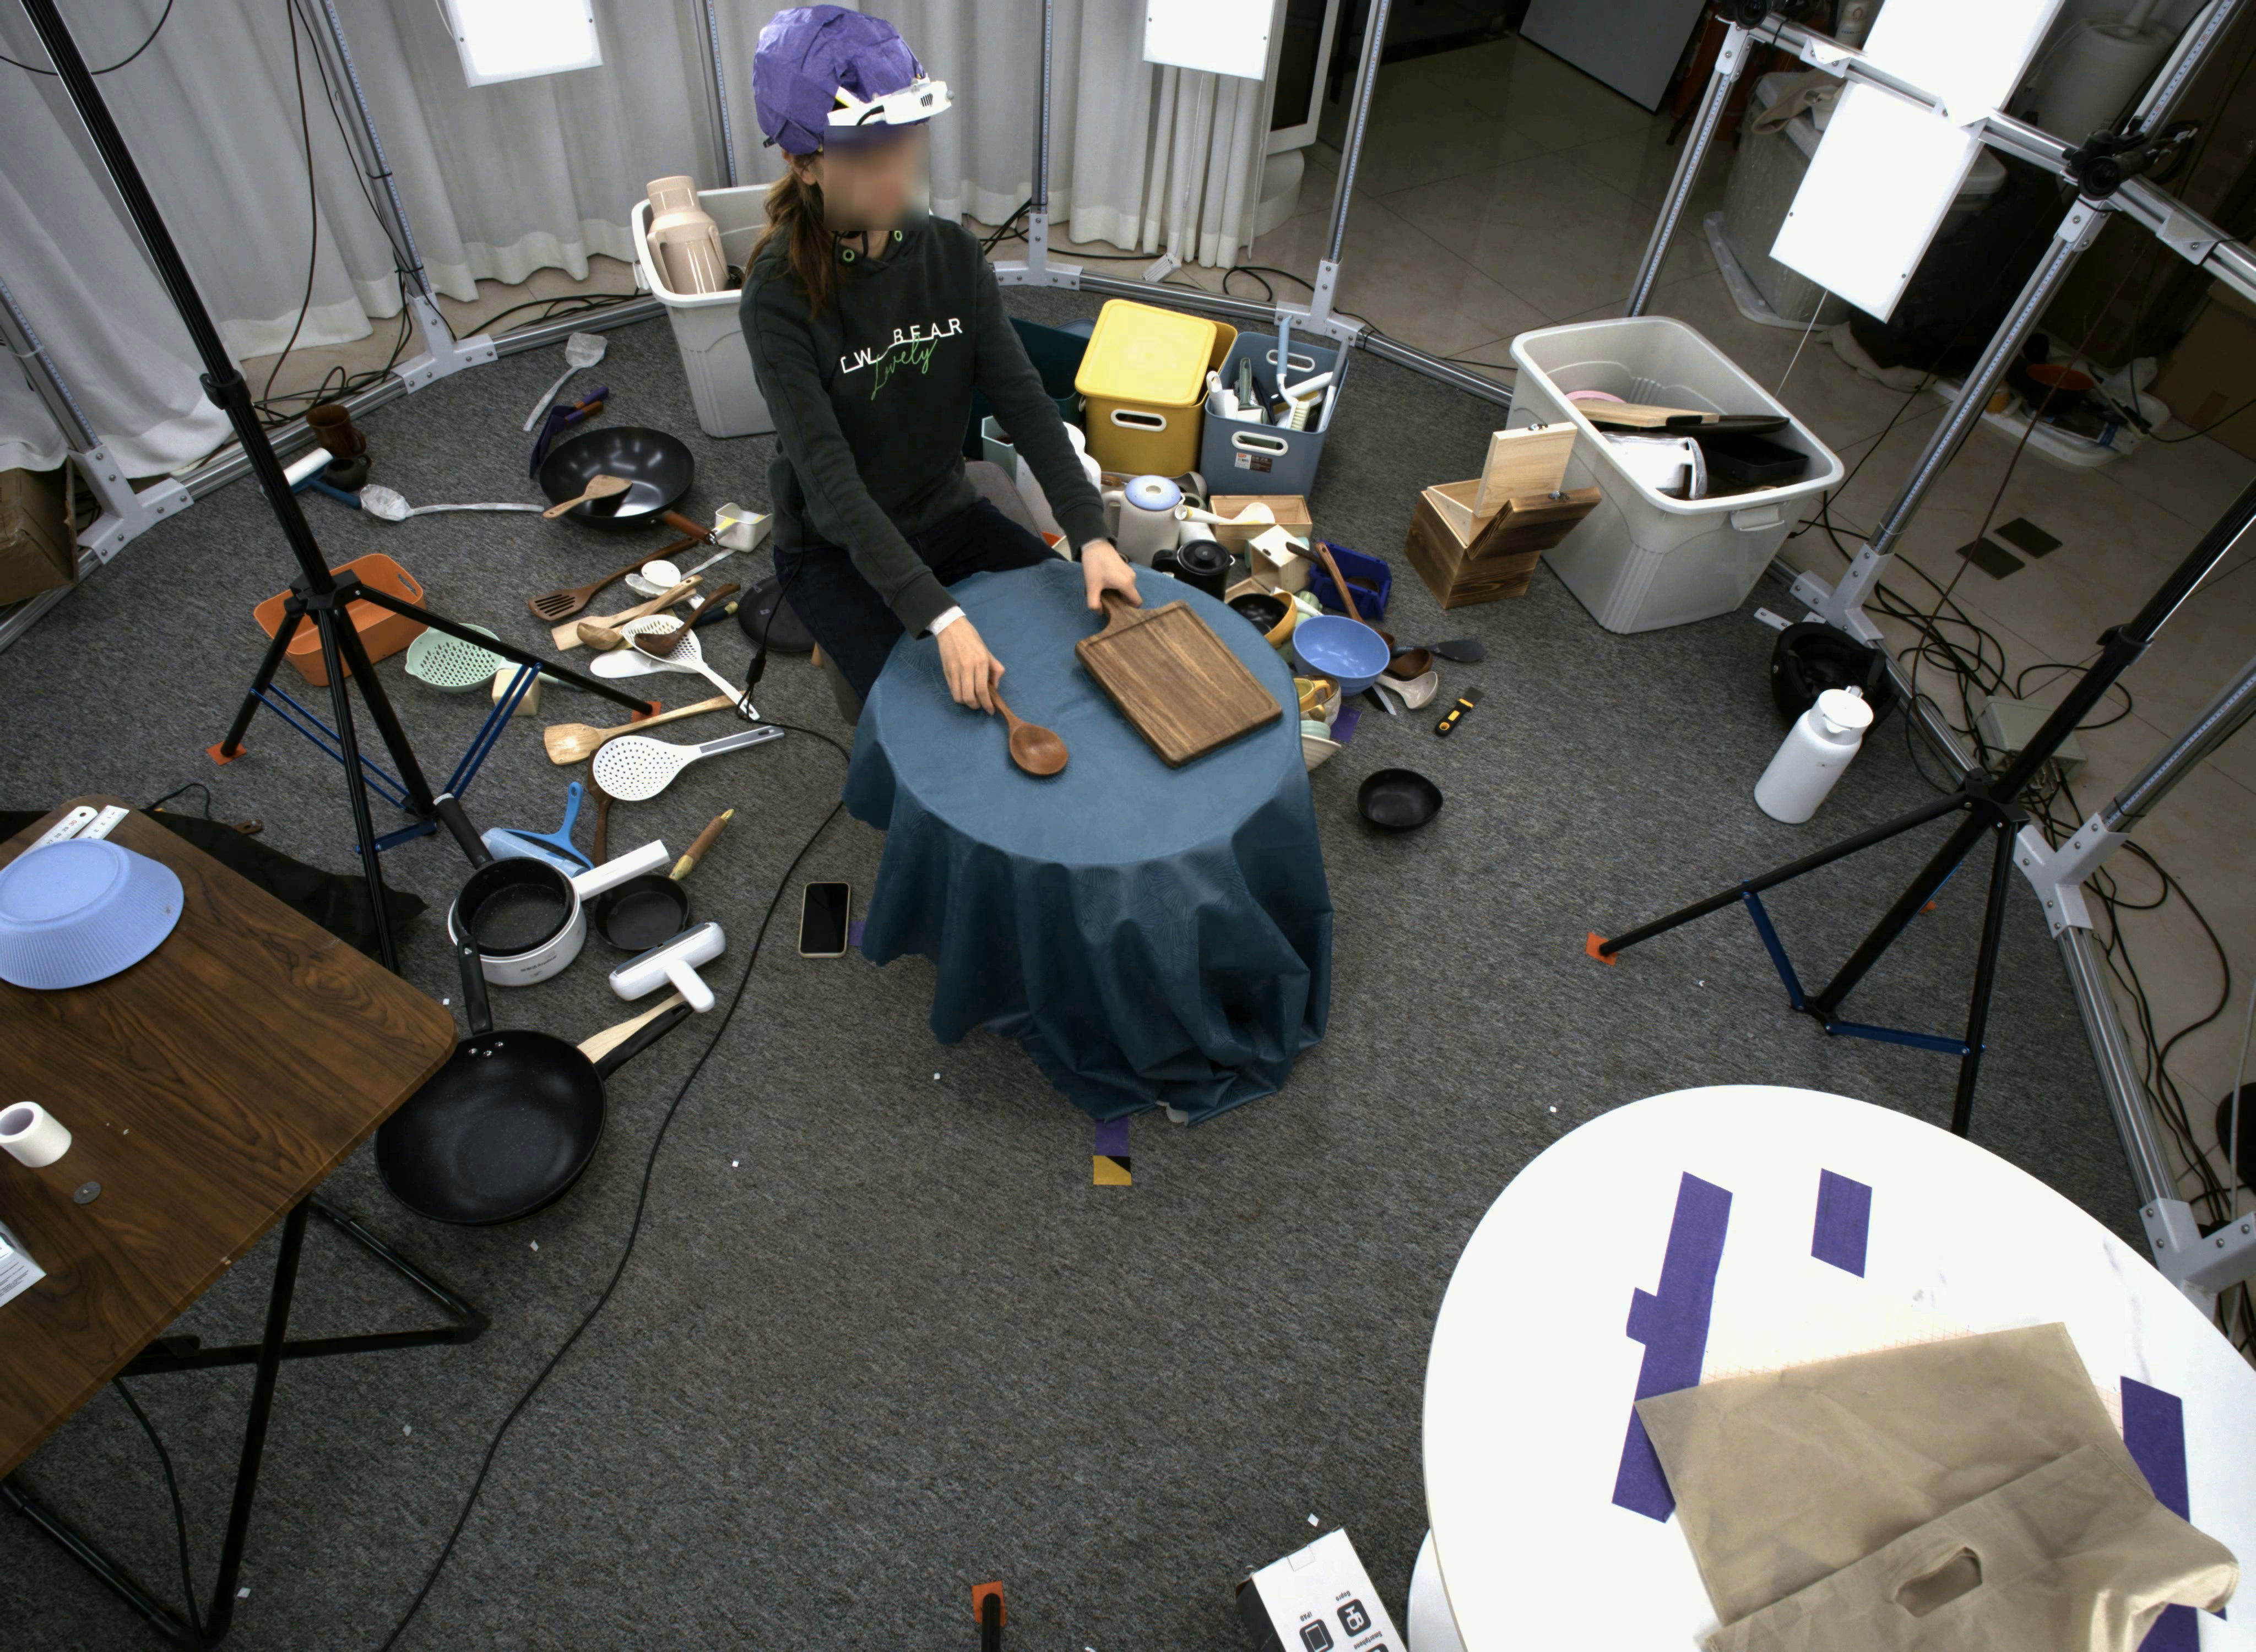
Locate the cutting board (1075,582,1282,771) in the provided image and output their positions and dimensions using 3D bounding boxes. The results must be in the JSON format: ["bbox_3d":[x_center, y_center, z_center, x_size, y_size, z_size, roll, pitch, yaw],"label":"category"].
[{"bbox_3d":[0.044,-0.240,1.869,0.202,0.022,0.359,-26,60,-23],"label":"cutting board"}]

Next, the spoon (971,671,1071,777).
[{"bbox_3d":[-0.155,-0.143,1.781,0.076,0.017,0.220,-27,59,-22],"label":"spoon"}]
